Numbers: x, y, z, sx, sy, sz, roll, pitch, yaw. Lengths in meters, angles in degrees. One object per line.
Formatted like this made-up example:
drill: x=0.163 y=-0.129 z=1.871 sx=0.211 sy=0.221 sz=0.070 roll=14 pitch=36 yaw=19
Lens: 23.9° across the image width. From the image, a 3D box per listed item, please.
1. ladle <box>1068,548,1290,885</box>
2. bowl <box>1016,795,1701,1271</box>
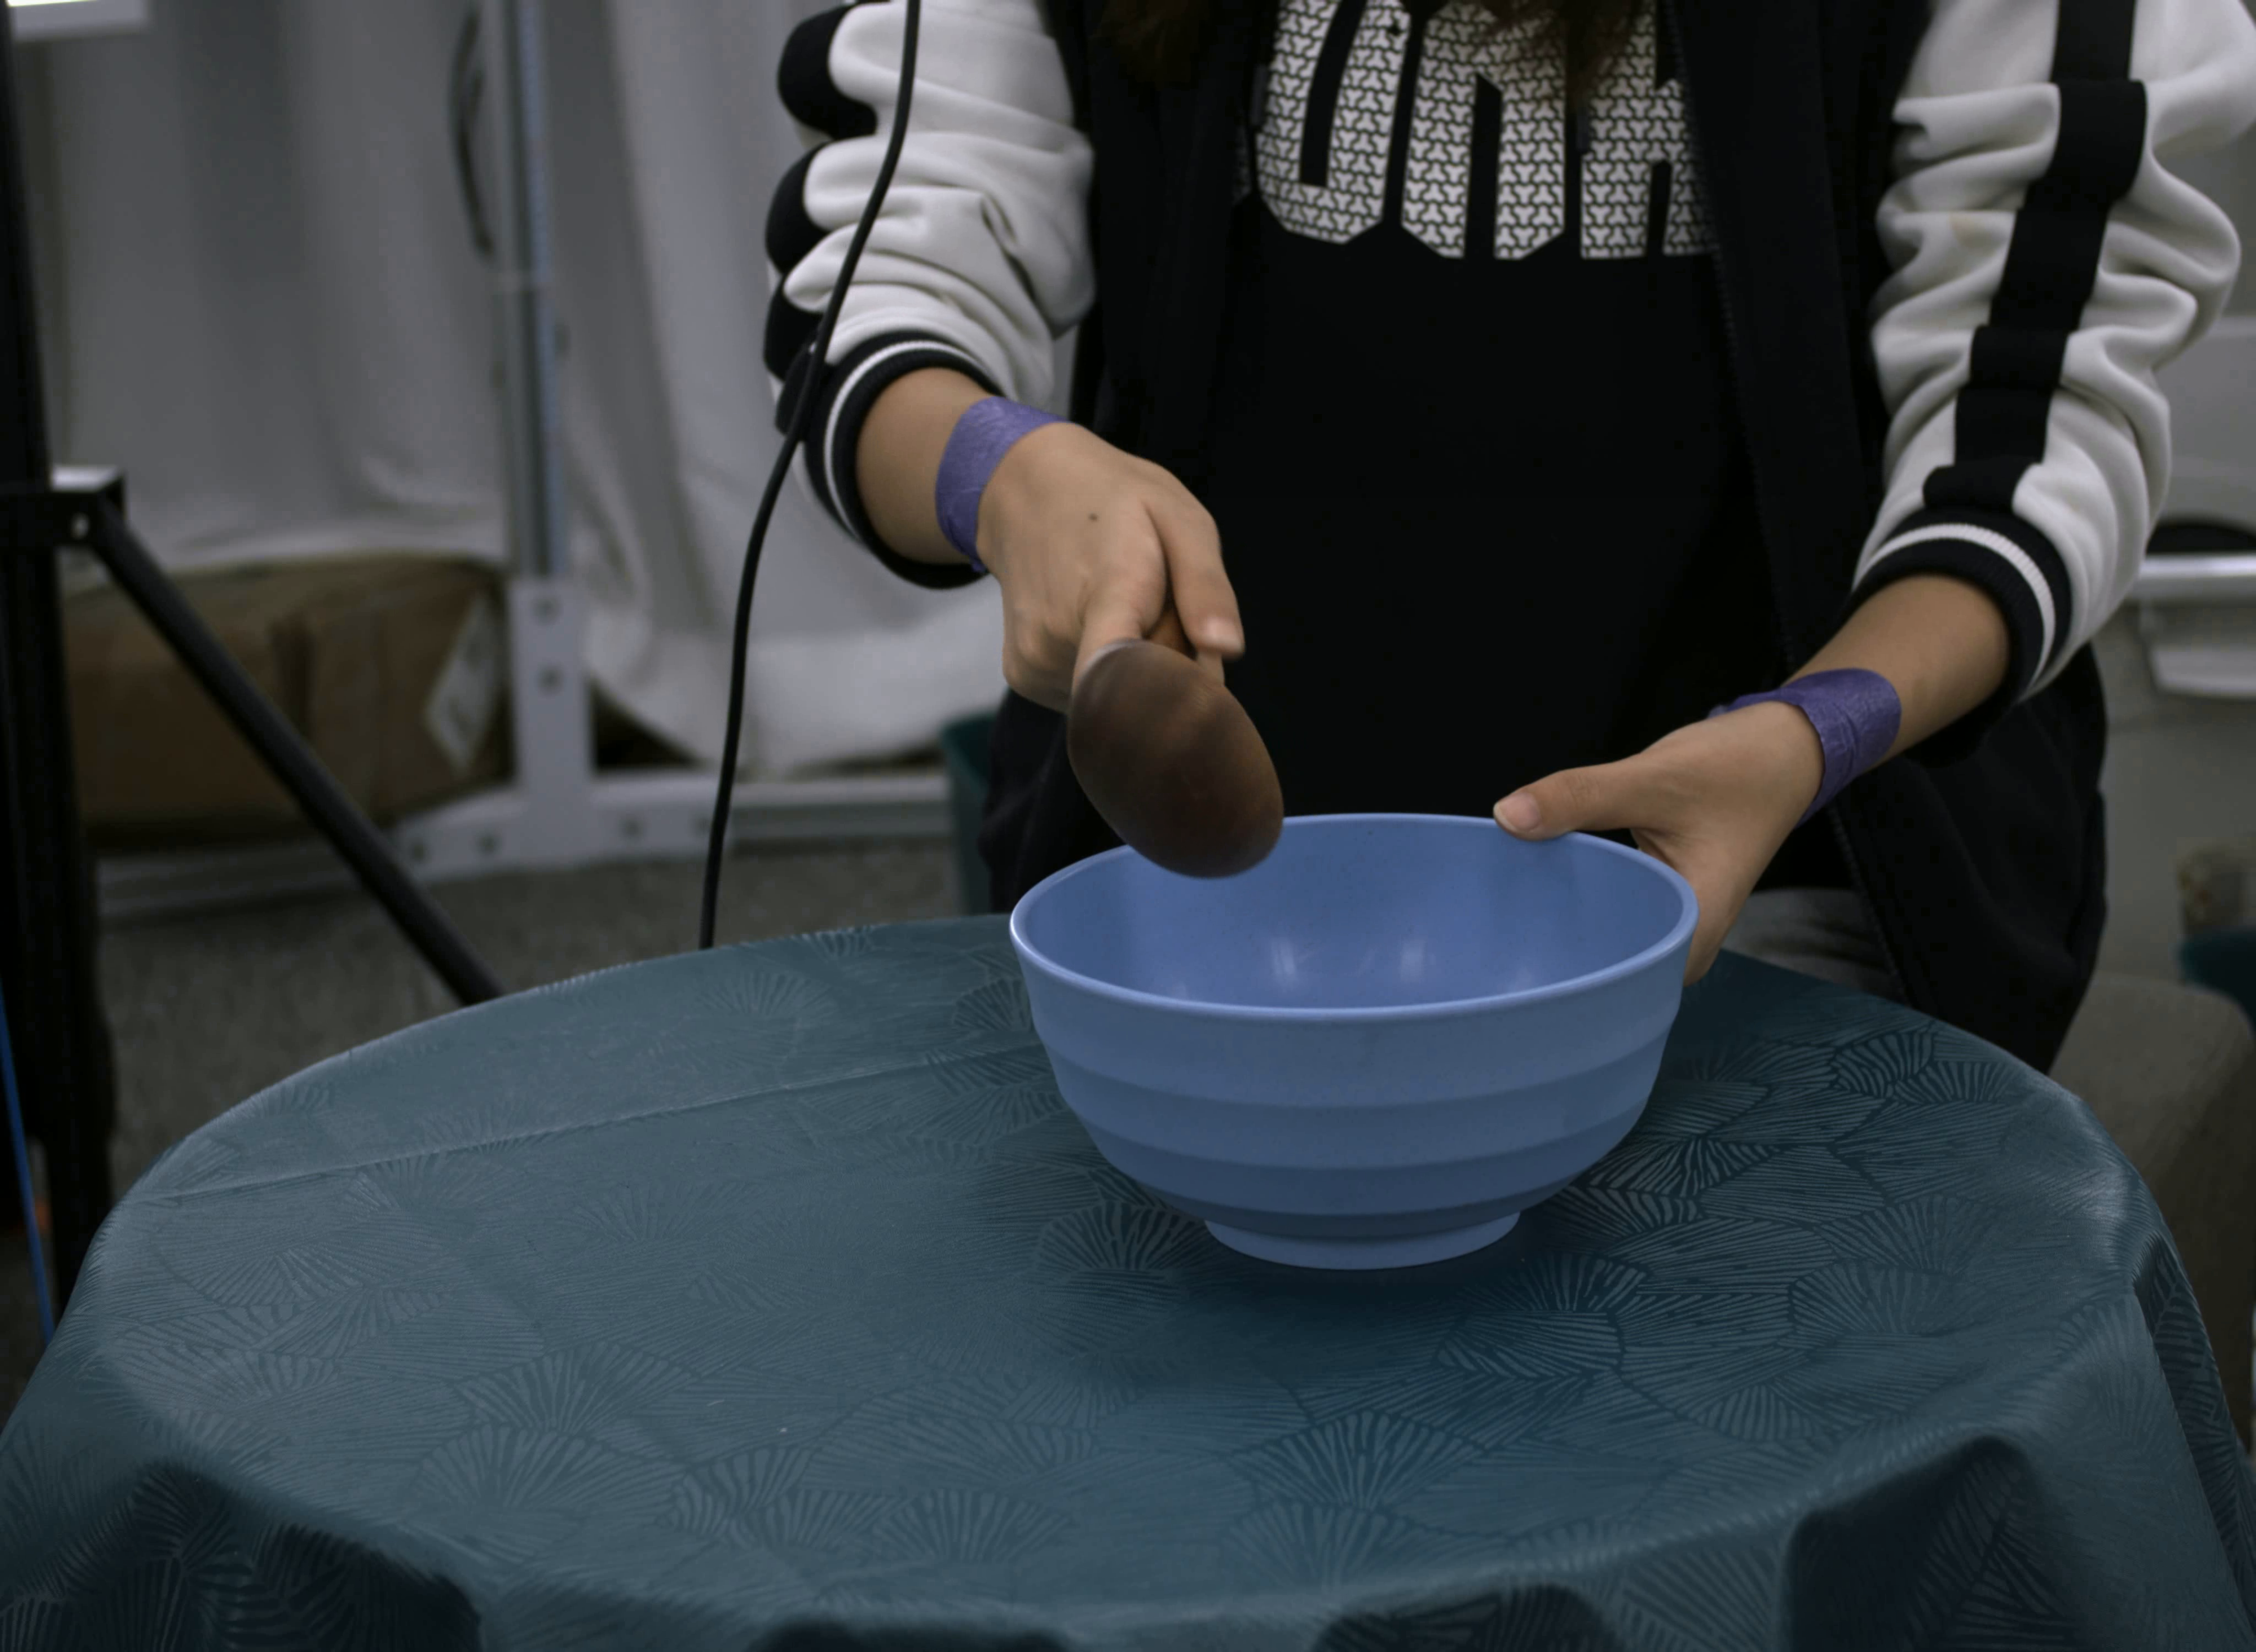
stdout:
ladle: x=0.020 y=-0.047 z=1.579 sx=0.065 sy=0.076 sz=0.260 roll=-19 pitch=15 yaw=10
bowl: x=0.071 y=0.066 z=1.522 sx=0.196 sy=0.095 sz=0.197 roll=-8 pitch=17 yaw=1
